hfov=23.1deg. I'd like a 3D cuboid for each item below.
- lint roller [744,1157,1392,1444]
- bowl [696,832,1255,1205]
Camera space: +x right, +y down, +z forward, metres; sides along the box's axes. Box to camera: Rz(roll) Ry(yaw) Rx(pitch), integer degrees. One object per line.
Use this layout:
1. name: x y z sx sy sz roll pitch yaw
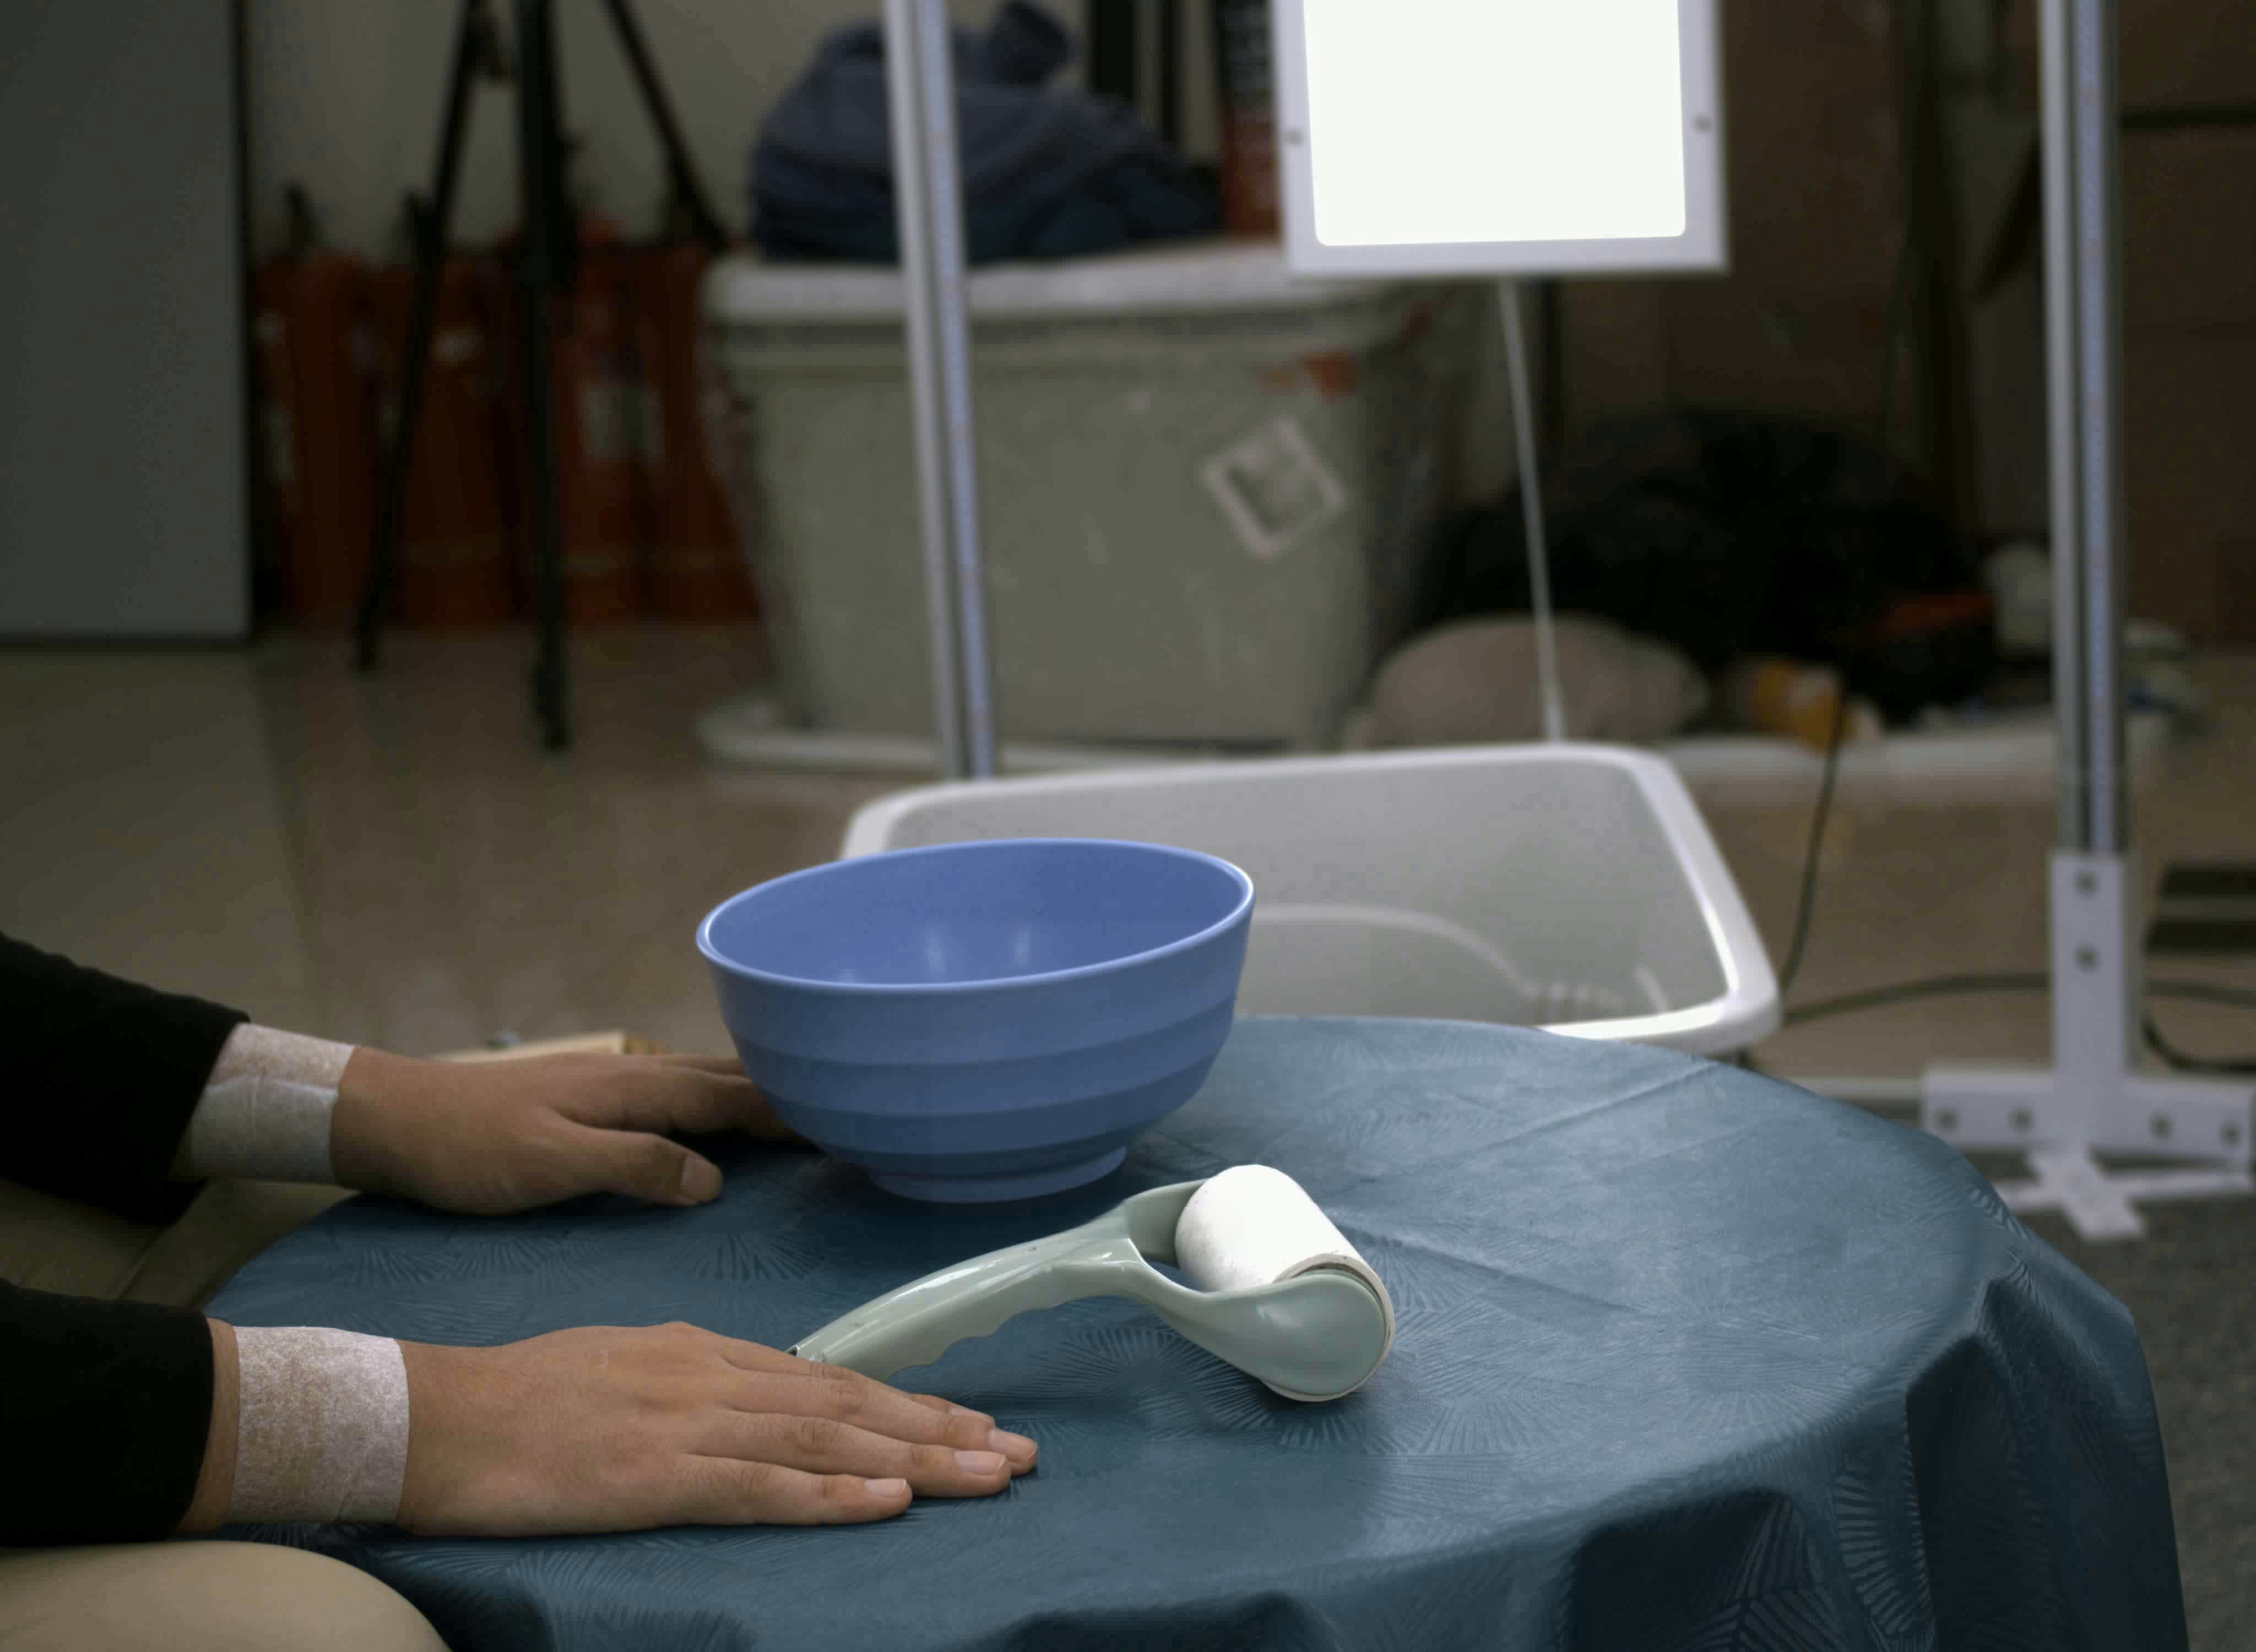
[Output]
1. lint roller: -0.025 0.151 1.715 0.195 0.049 0.117 -8 16 -9
2. bowl: -0.050 0.073 1.932 0.196 0.096 0.196 -5 15 0
